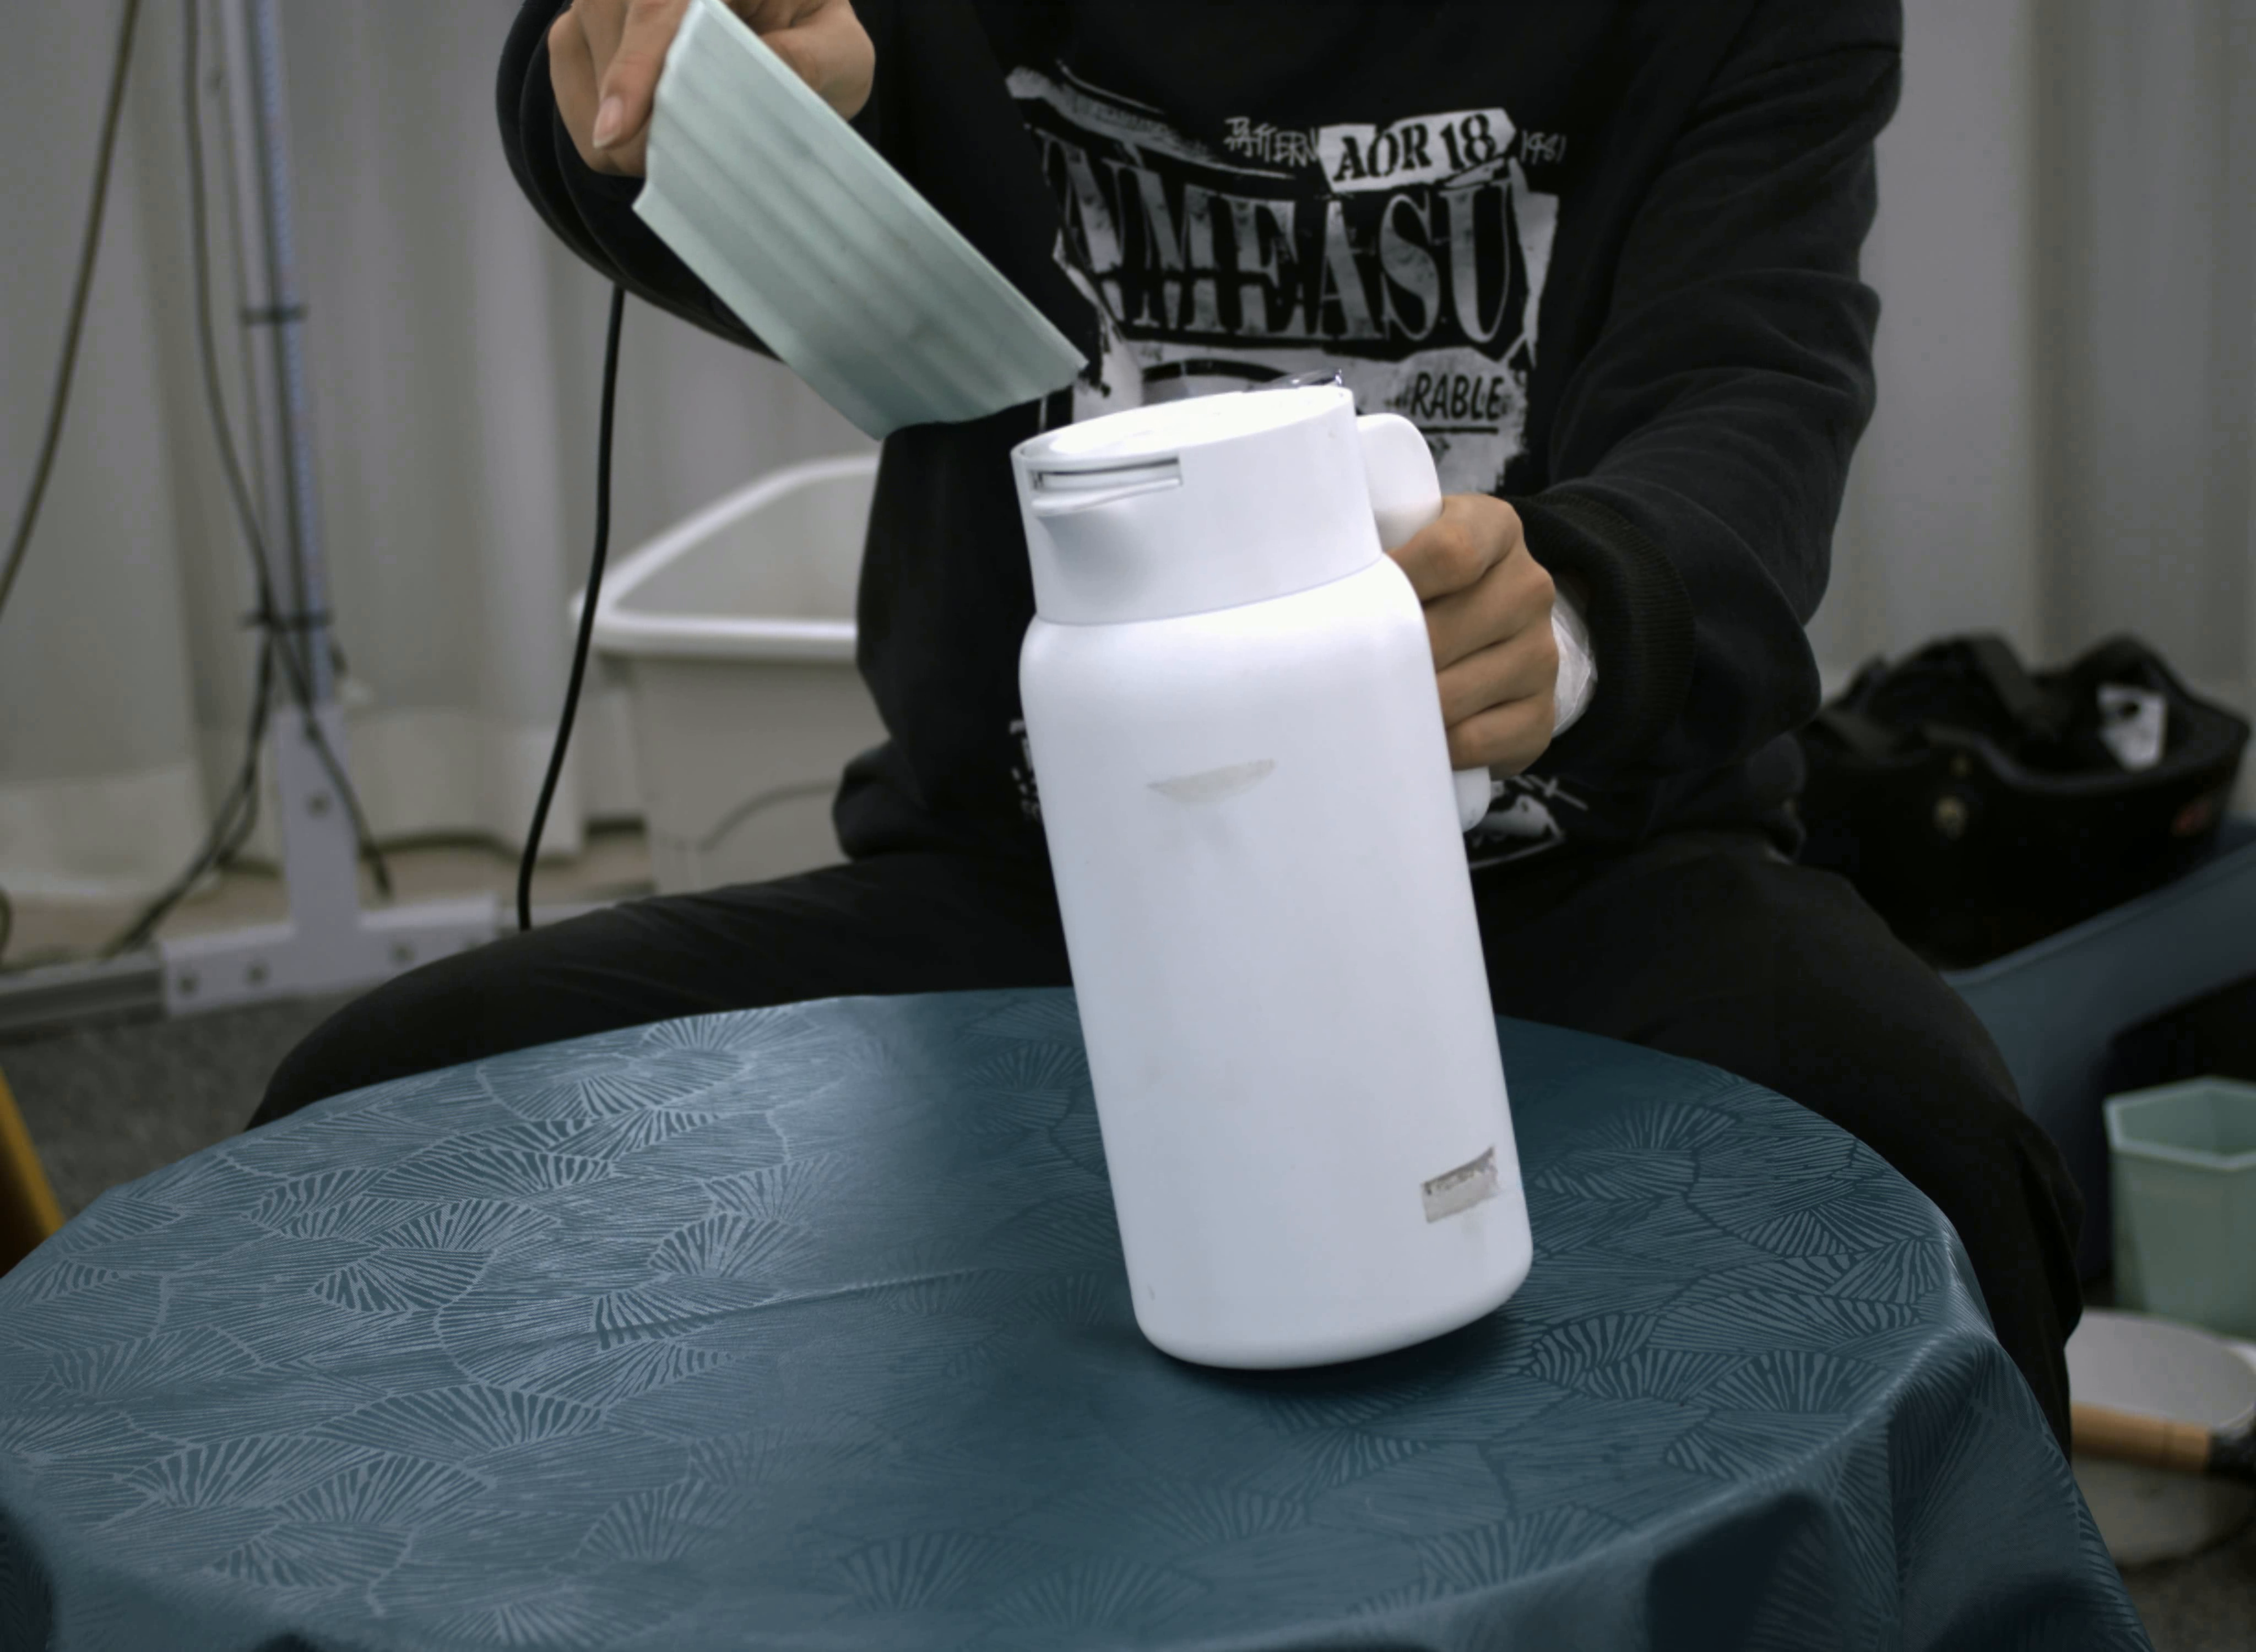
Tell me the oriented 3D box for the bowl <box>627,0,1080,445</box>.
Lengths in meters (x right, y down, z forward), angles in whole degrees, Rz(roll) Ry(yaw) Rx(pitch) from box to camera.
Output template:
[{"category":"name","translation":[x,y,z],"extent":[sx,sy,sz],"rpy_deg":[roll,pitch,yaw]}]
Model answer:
[{"category":"bowl","translation":[-0.084,-0.158,1.512],"extent":[0.058,0.150,0.152],"rpy_deg":[-46,18,2]}]

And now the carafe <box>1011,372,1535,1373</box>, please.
[{"category":"carafe","translation":[0.047,0.009,1.571],"extent":[0.124,0.268,0.173],"rpy_deg":[-6,11,36]}]
